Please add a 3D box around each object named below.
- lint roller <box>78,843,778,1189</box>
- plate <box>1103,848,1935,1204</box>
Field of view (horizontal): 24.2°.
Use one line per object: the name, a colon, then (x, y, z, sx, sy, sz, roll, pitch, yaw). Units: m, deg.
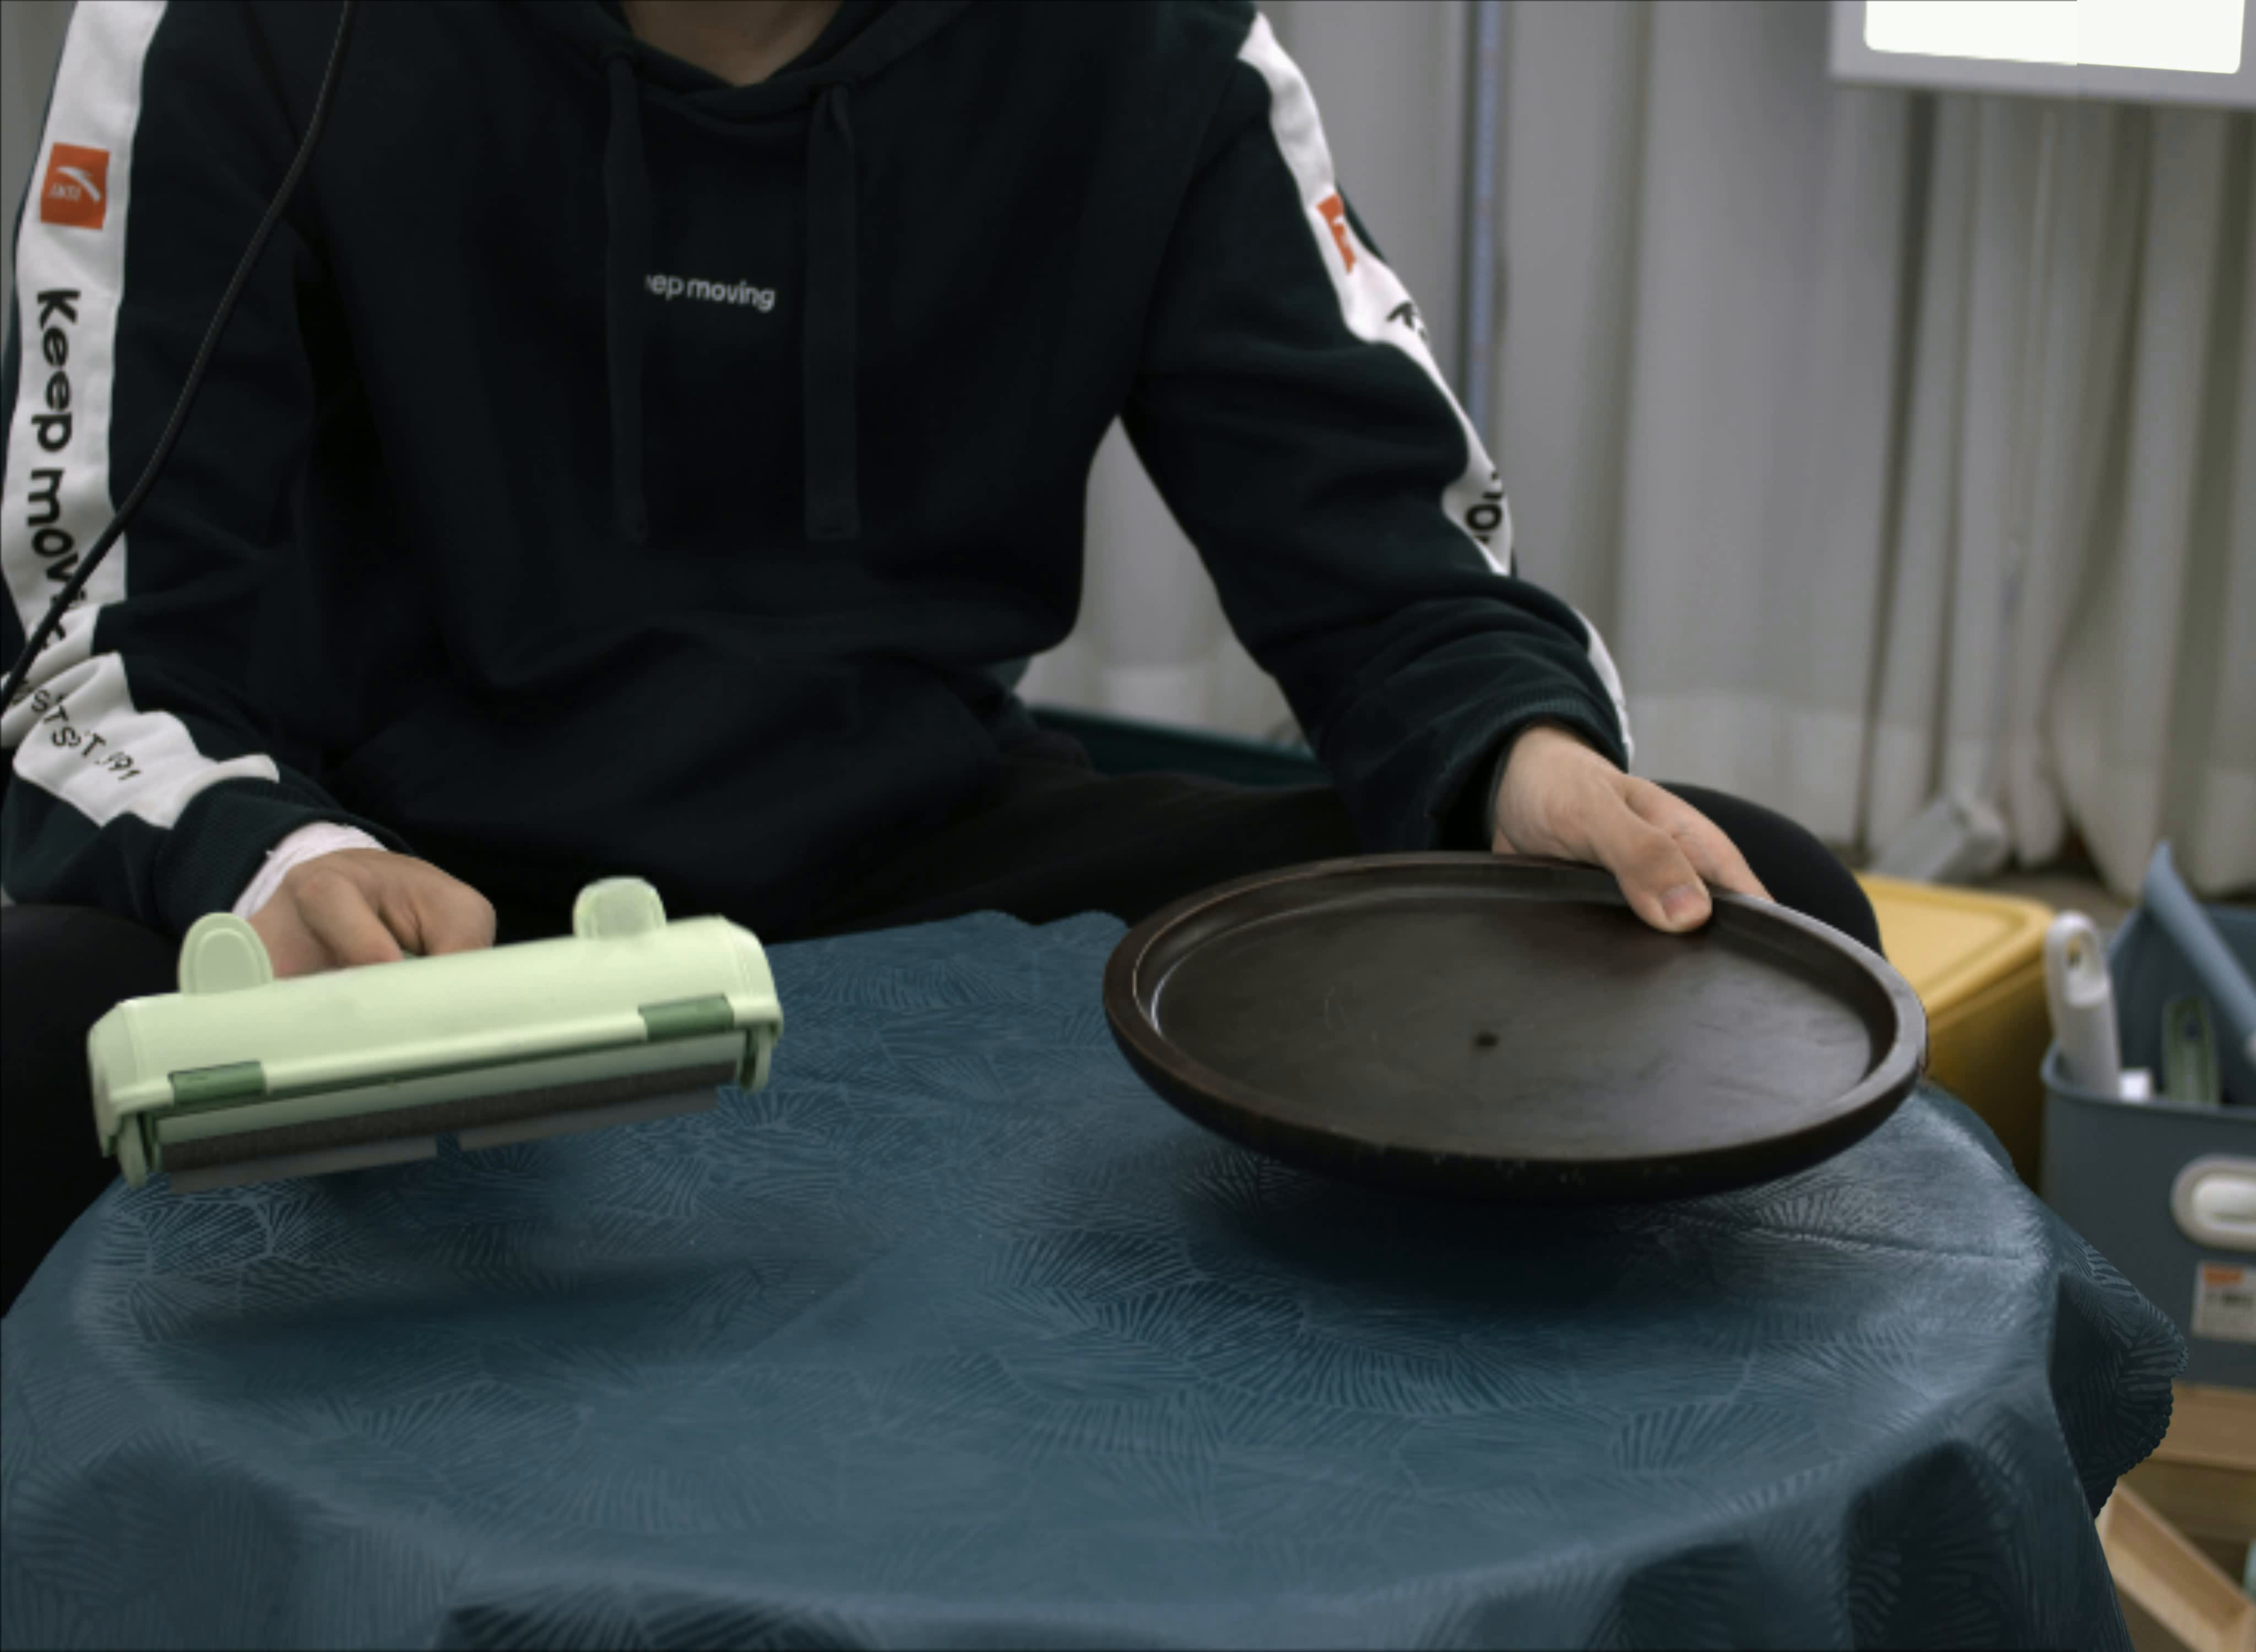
lint roller: (-0.218, 0.041, 1.561, 0.199, 0.083, 0.181, -9, 19, -16)
plate: (0.118, 0.059, 1.607, 0.254, 0.029, 0.253, 2, 21, 0)
